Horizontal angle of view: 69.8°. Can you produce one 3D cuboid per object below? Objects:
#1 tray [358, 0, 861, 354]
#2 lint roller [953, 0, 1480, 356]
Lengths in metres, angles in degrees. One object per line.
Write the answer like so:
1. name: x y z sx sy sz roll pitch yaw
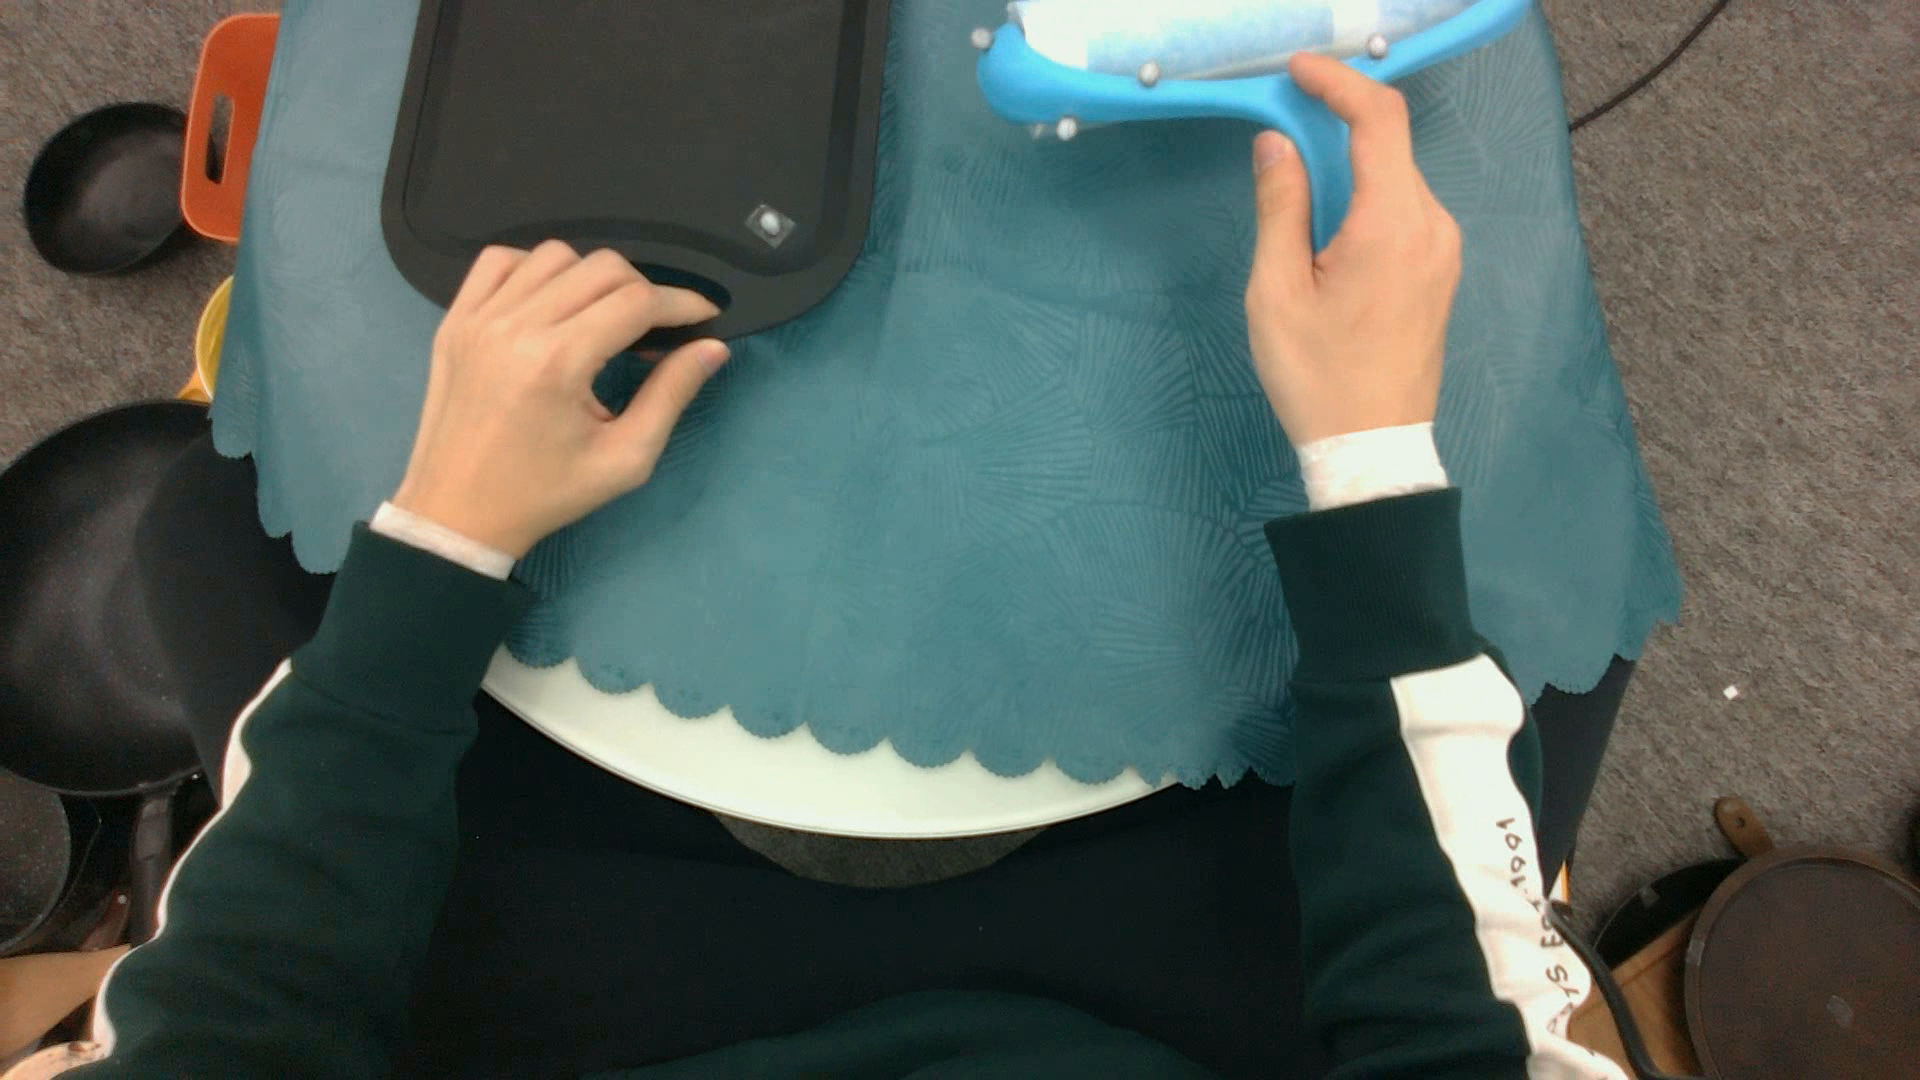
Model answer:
1. tray: -0.150 -0.235 0.616 0.211 0.010 0.326 2 75 1
2. lint roller: 0.126 -0.168 0.558 0.229 0.068 0.180 -16 72 -5
